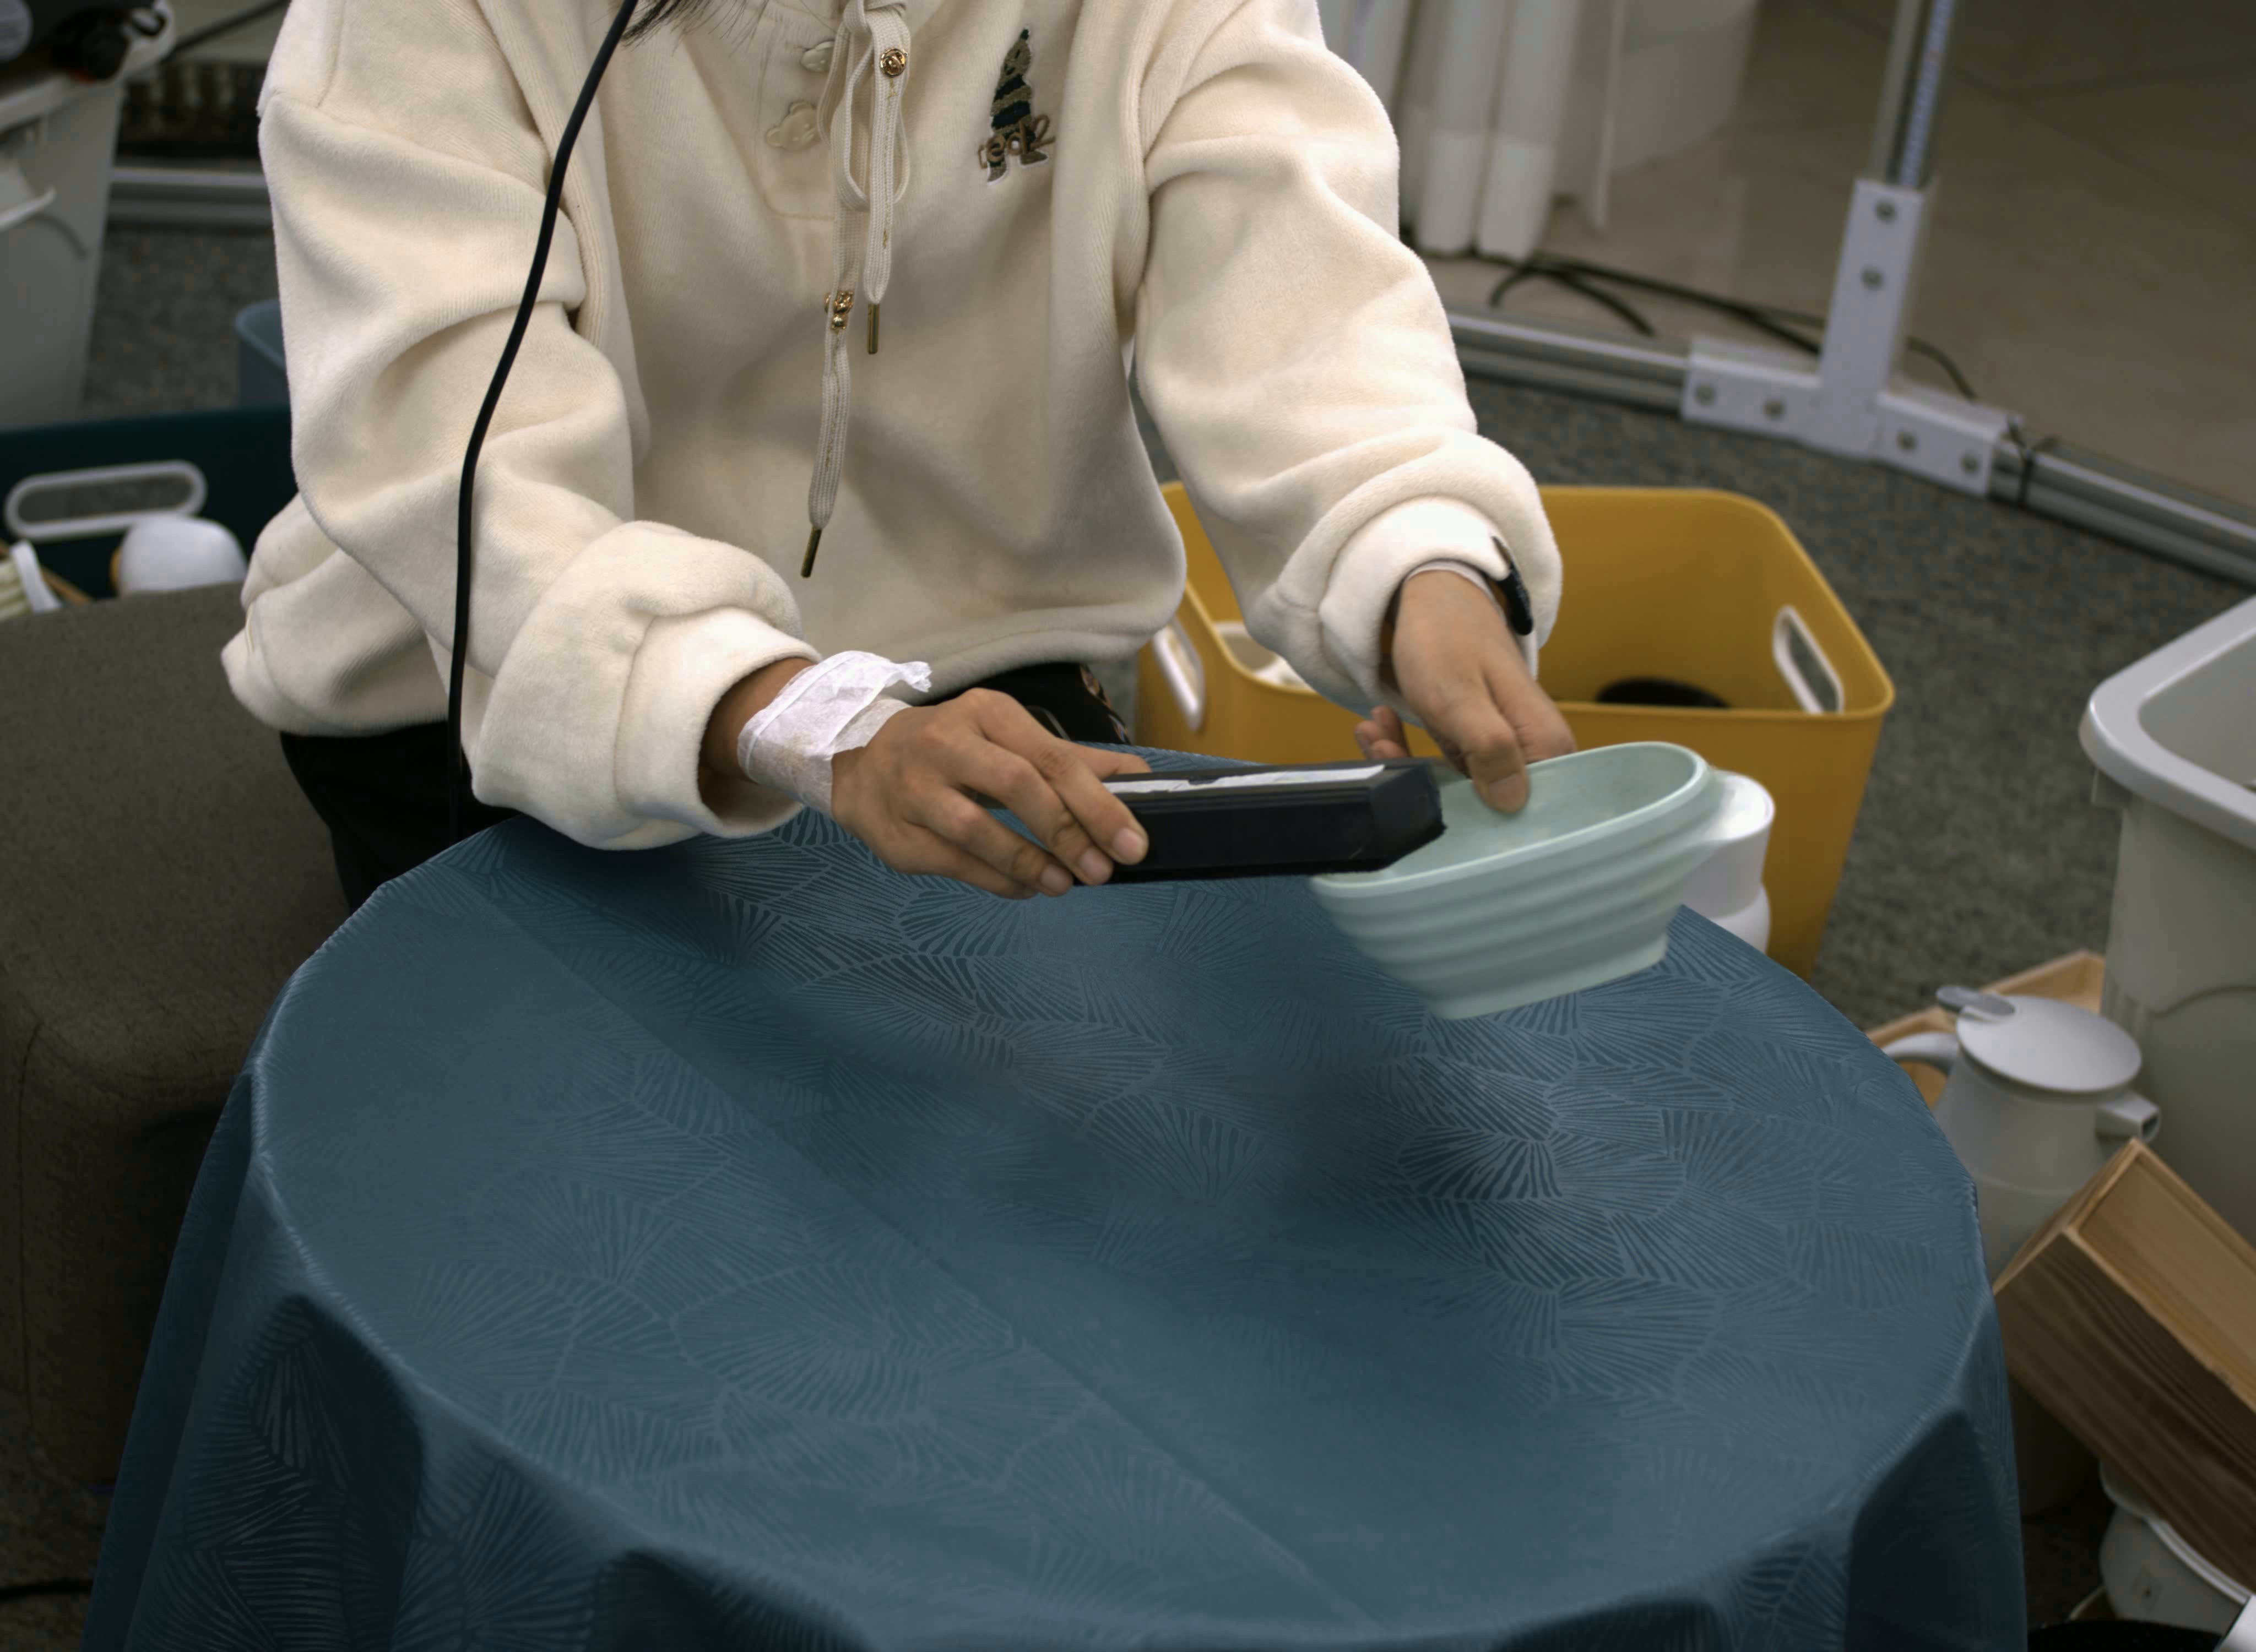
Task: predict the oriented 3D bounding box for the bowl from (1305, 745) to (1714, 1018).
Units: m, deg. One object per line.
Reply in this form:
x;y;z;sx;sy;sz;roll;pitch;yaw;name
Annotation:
0.133;0.022;1.784;0.151;0.058;0.152;-13;11;2;bowl

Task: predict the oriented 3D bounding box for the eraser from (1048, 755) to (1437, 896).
0.040;0.000;1.796;0.126;0.030;0.053;-6;10;28;eraser
